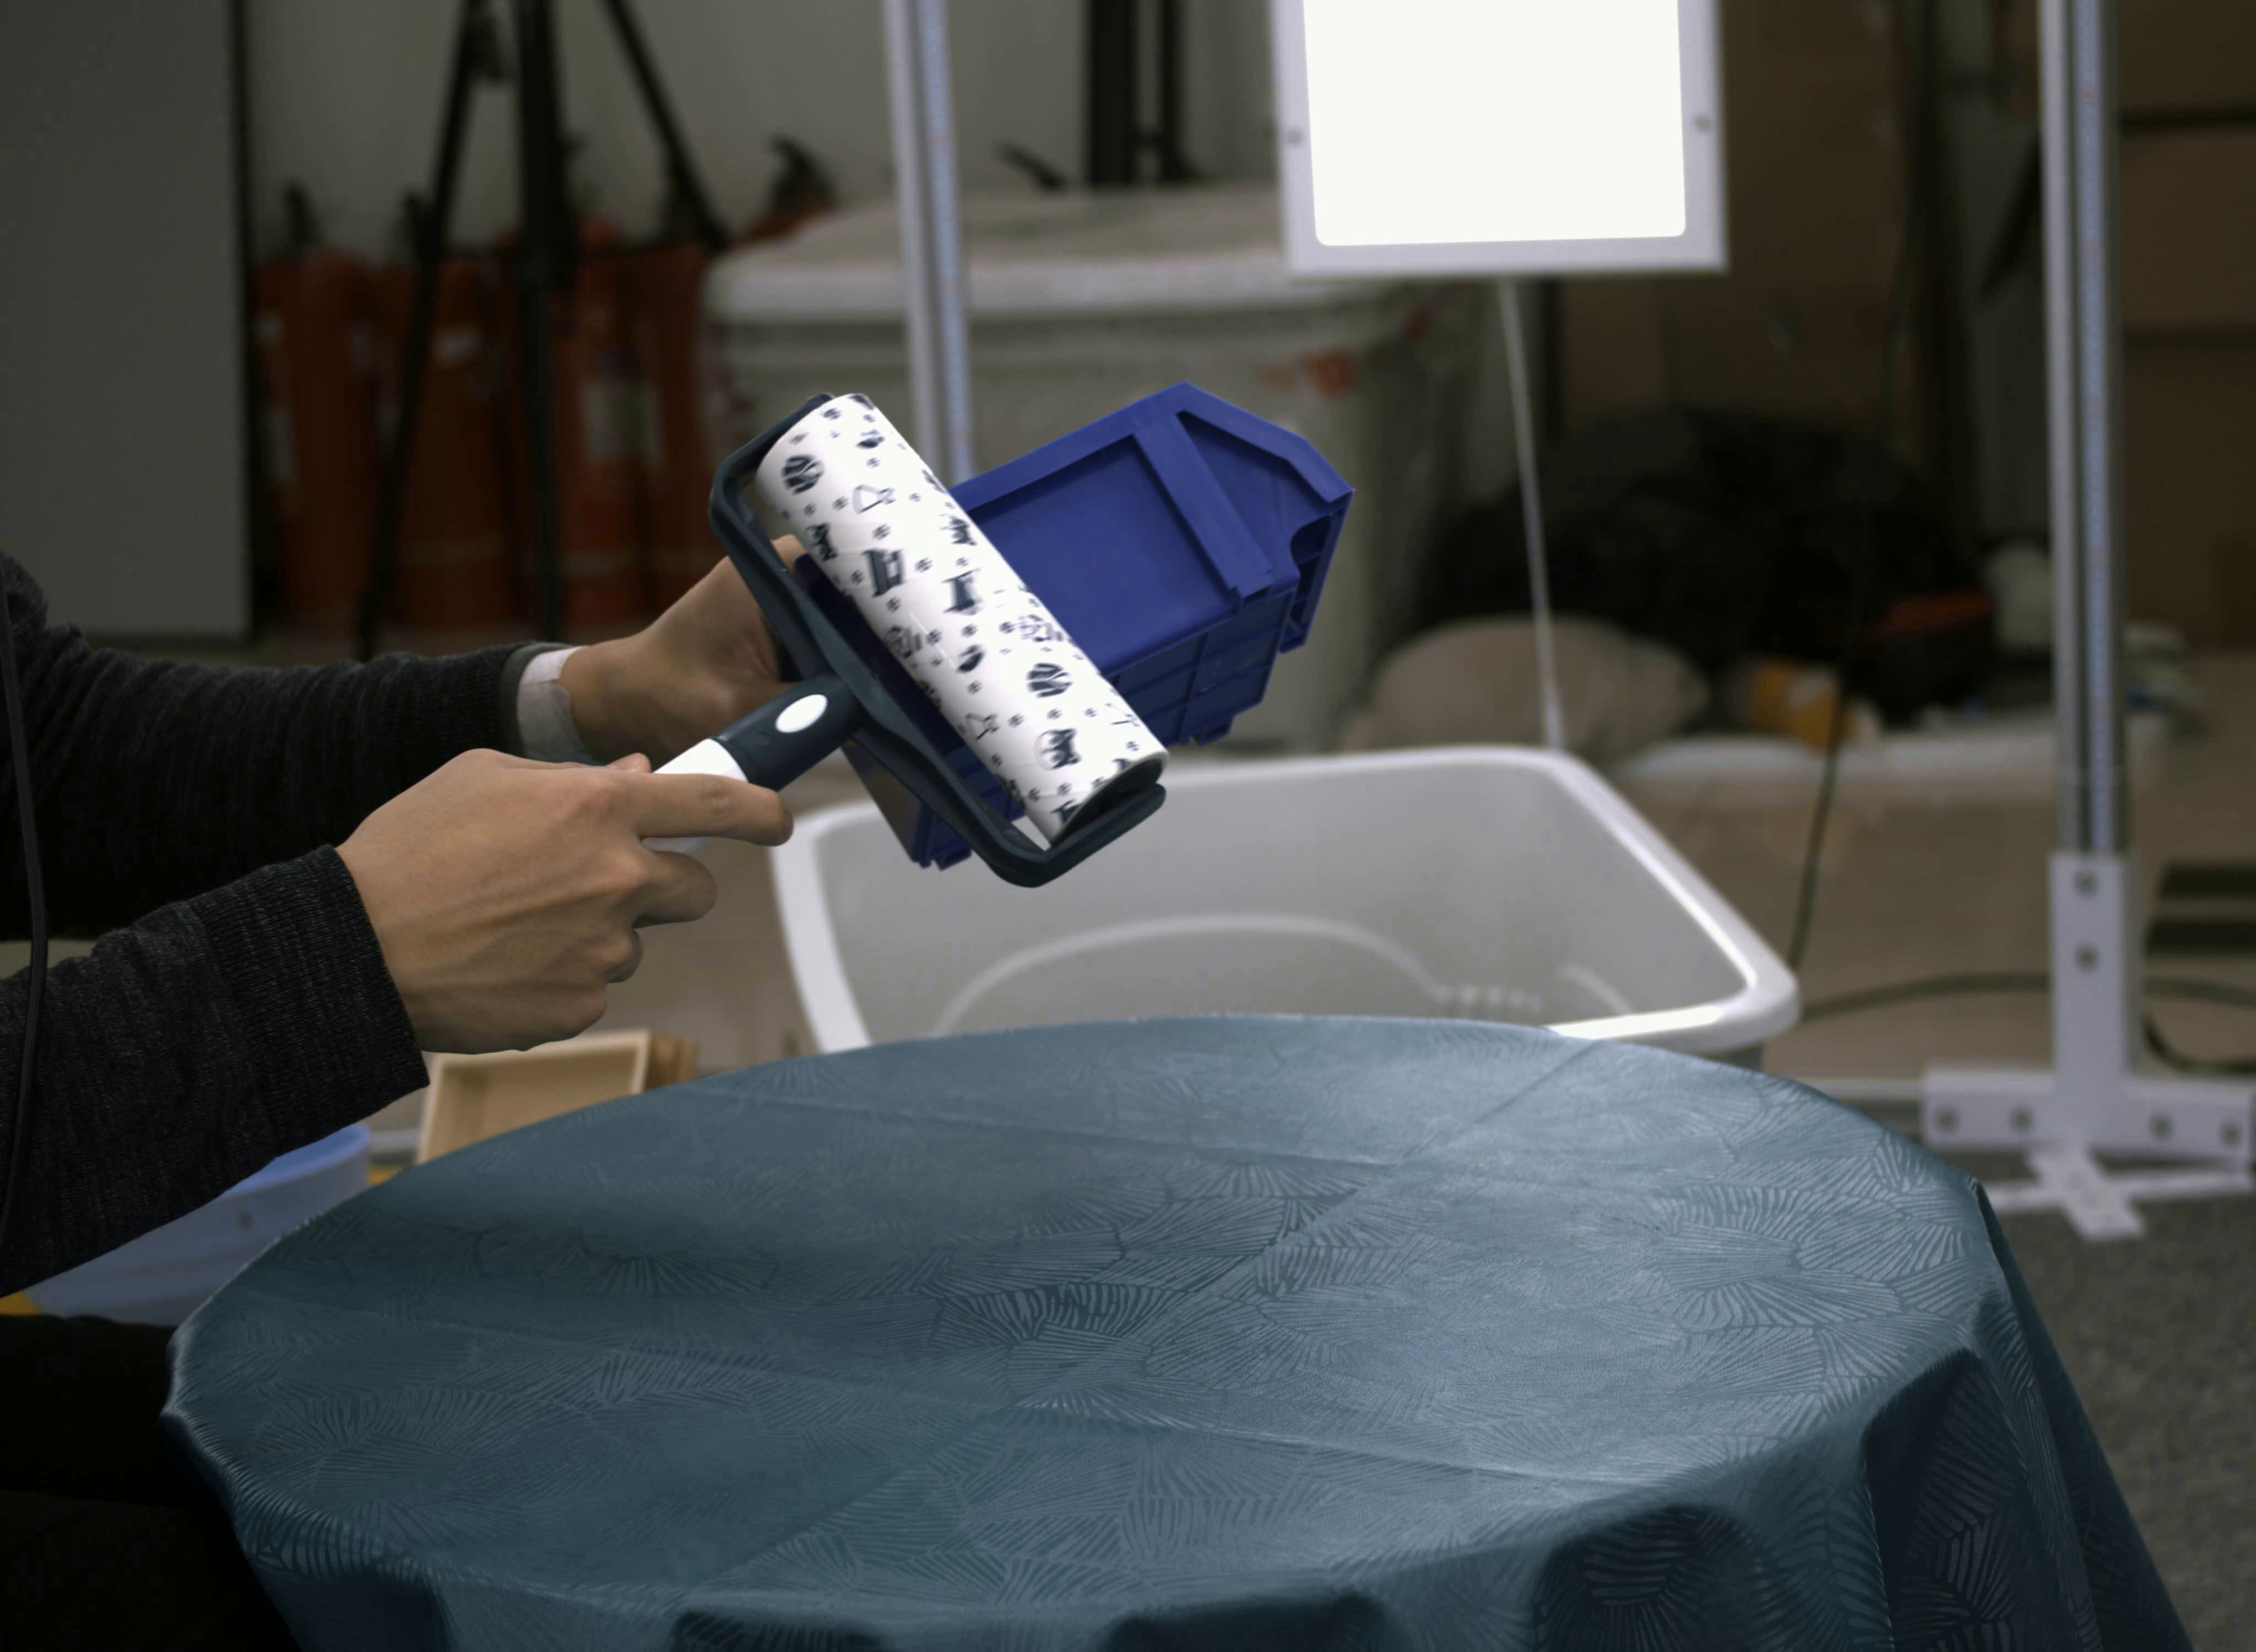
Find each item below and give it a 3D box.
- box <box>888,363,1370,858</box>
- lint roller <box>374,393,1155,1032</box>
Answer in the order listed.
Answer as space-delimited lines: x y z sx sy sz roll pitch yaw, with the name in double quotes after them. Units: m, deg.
-0.010 -0.074 1.874 0.177 0.082 0.125 -28 -19 -15 "box"
-0.133 -0.012 1.741 0.243 0.177 0.051 -35 -16 -19 "lint roller"
